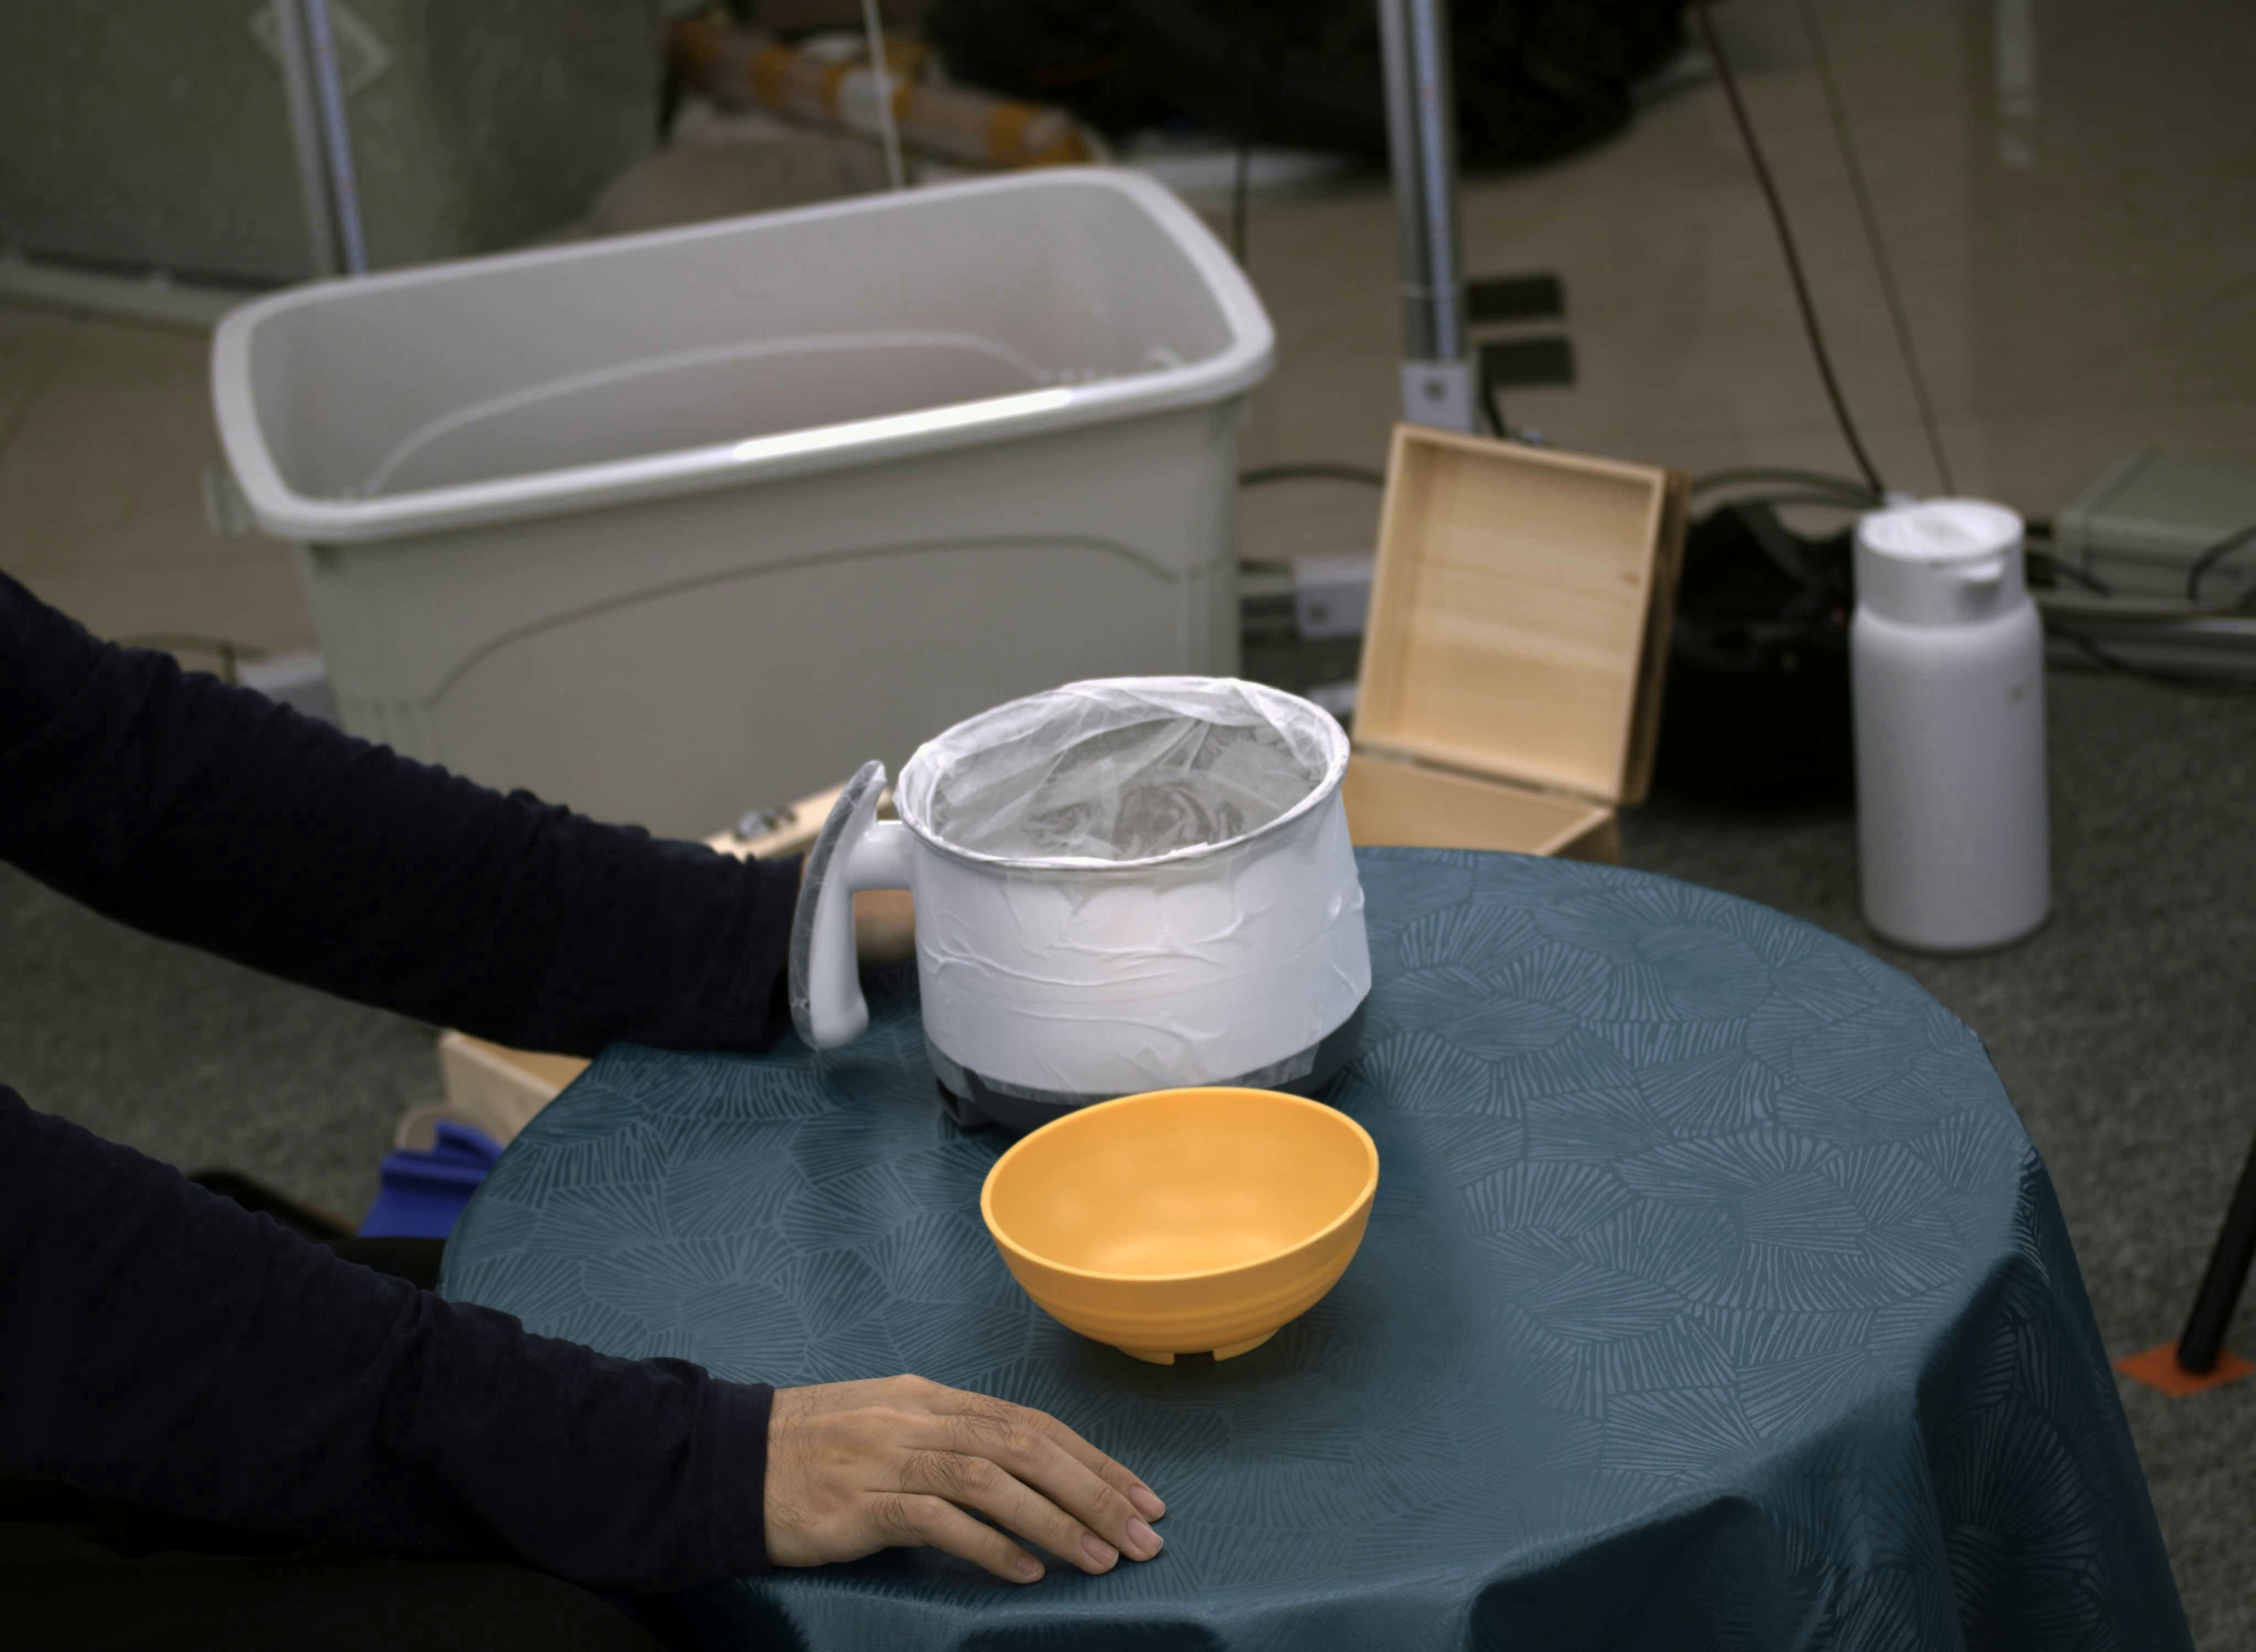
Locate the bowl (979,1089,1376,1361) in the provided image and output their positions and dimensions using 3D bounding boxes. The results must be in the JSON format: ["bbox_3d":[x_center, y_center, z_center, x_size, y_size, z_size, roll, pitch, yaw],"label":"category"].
[{"bbox_3d":[0.020,0.151,2.044,0.145,0.061,0.143,-4,24,2],"label":"bowl"}]

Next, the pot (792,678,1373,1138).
[{"bbox_3d":[-0.023,0.037,2.217,0.233,0.139,0.176,-2,25,12],"label":"pot"}]
